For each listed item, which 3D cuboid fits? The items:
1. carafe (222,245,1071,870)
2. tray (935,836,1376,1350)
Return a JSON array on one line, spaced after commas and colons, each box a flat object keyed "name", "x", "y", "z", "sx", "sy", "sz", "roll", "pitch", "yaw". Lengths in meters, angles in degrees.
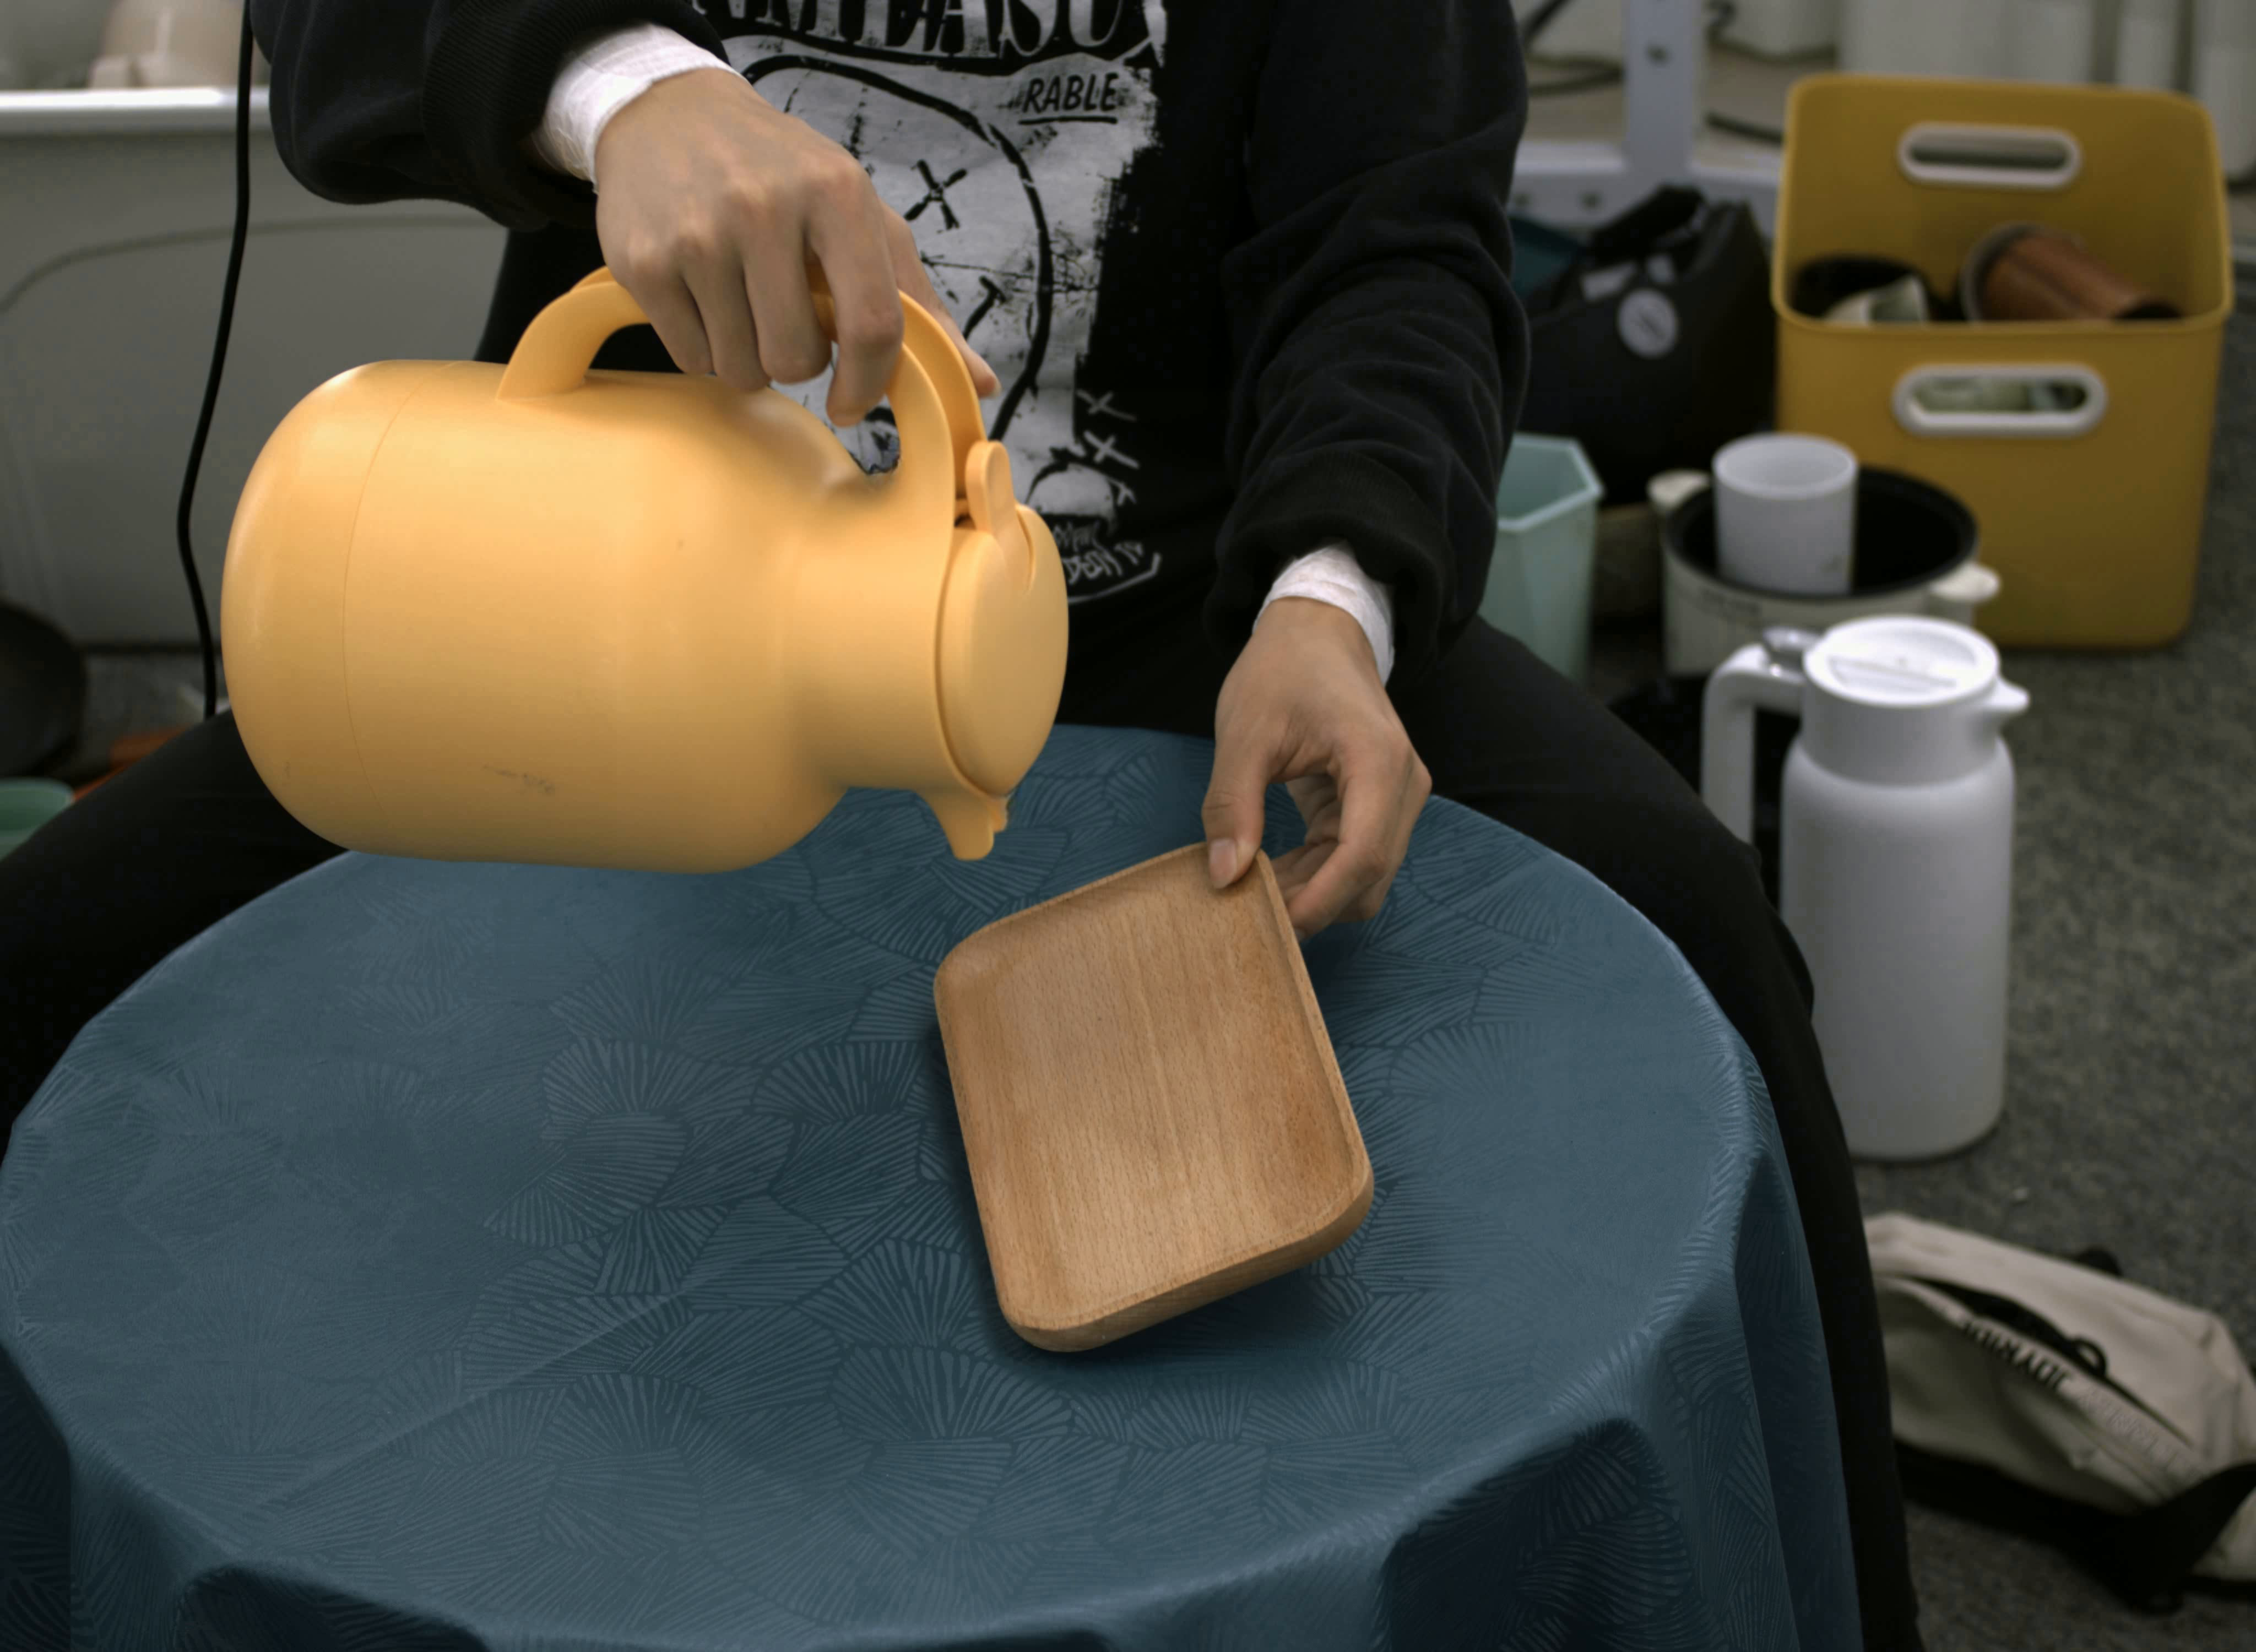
[{"name": "carafe", "x": -0.149, "y": -0.087, "z": 1.799, "sx": 0.258, "sy": 0.201, "sz": 0.166, "roll": 6, "pitch": 21, "yaw": 17}, {"name": "tray", "x": 0.006, "y": 0.086, "z": 1.866, "sx": 0.130, "sy": 0.022, "sz": 0.254, "roll": -19, "pitch": 29, "yaw": 2}]
